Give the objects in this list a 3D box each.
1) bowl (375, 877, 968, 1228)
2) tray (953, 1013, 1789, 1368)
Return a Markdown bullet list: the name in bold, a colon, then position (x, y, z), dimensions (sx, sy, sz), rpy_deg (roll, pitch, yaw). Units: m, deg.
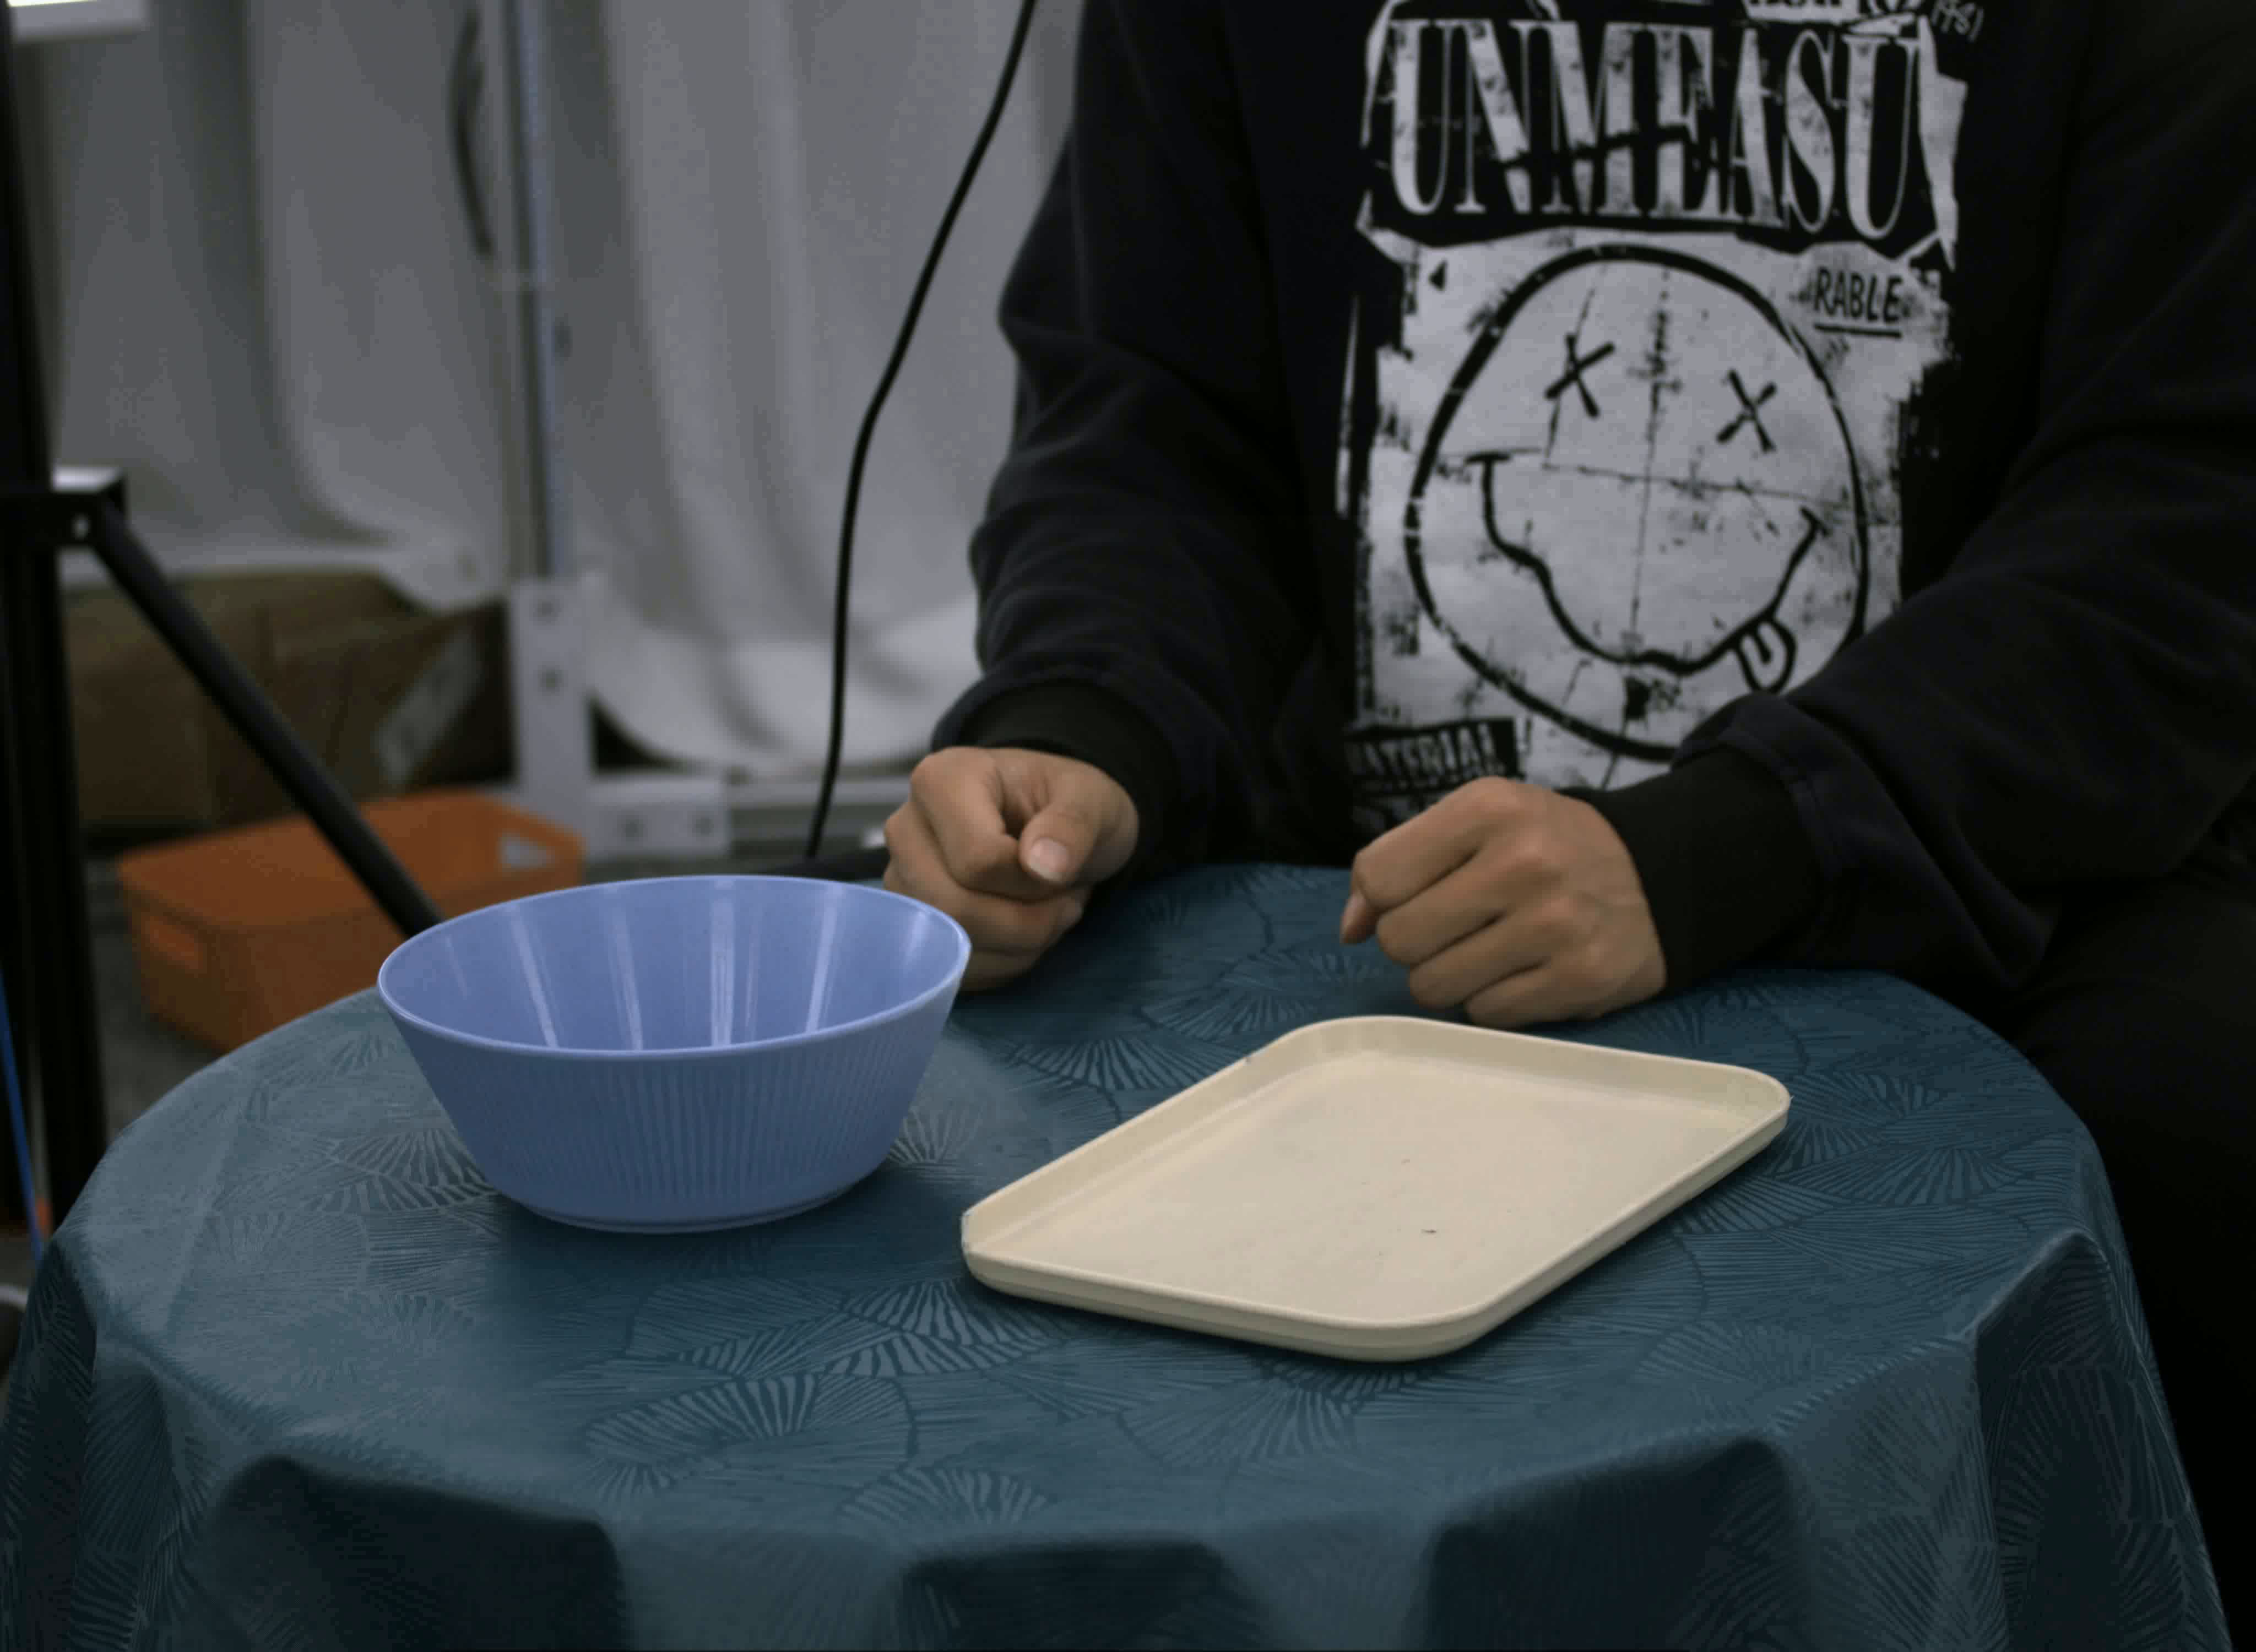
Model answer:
- **bowl**: position (-0.134, 0.070, 1.586), dimensions (0.175, 0.070, 0.177), rpy_deg (-2, 16, -1)
- **tray**: position (0.074, 0.104, 1.529), dimensions (0.174, 0.017, 0.235), rpy_deg (8, 19, 33)
